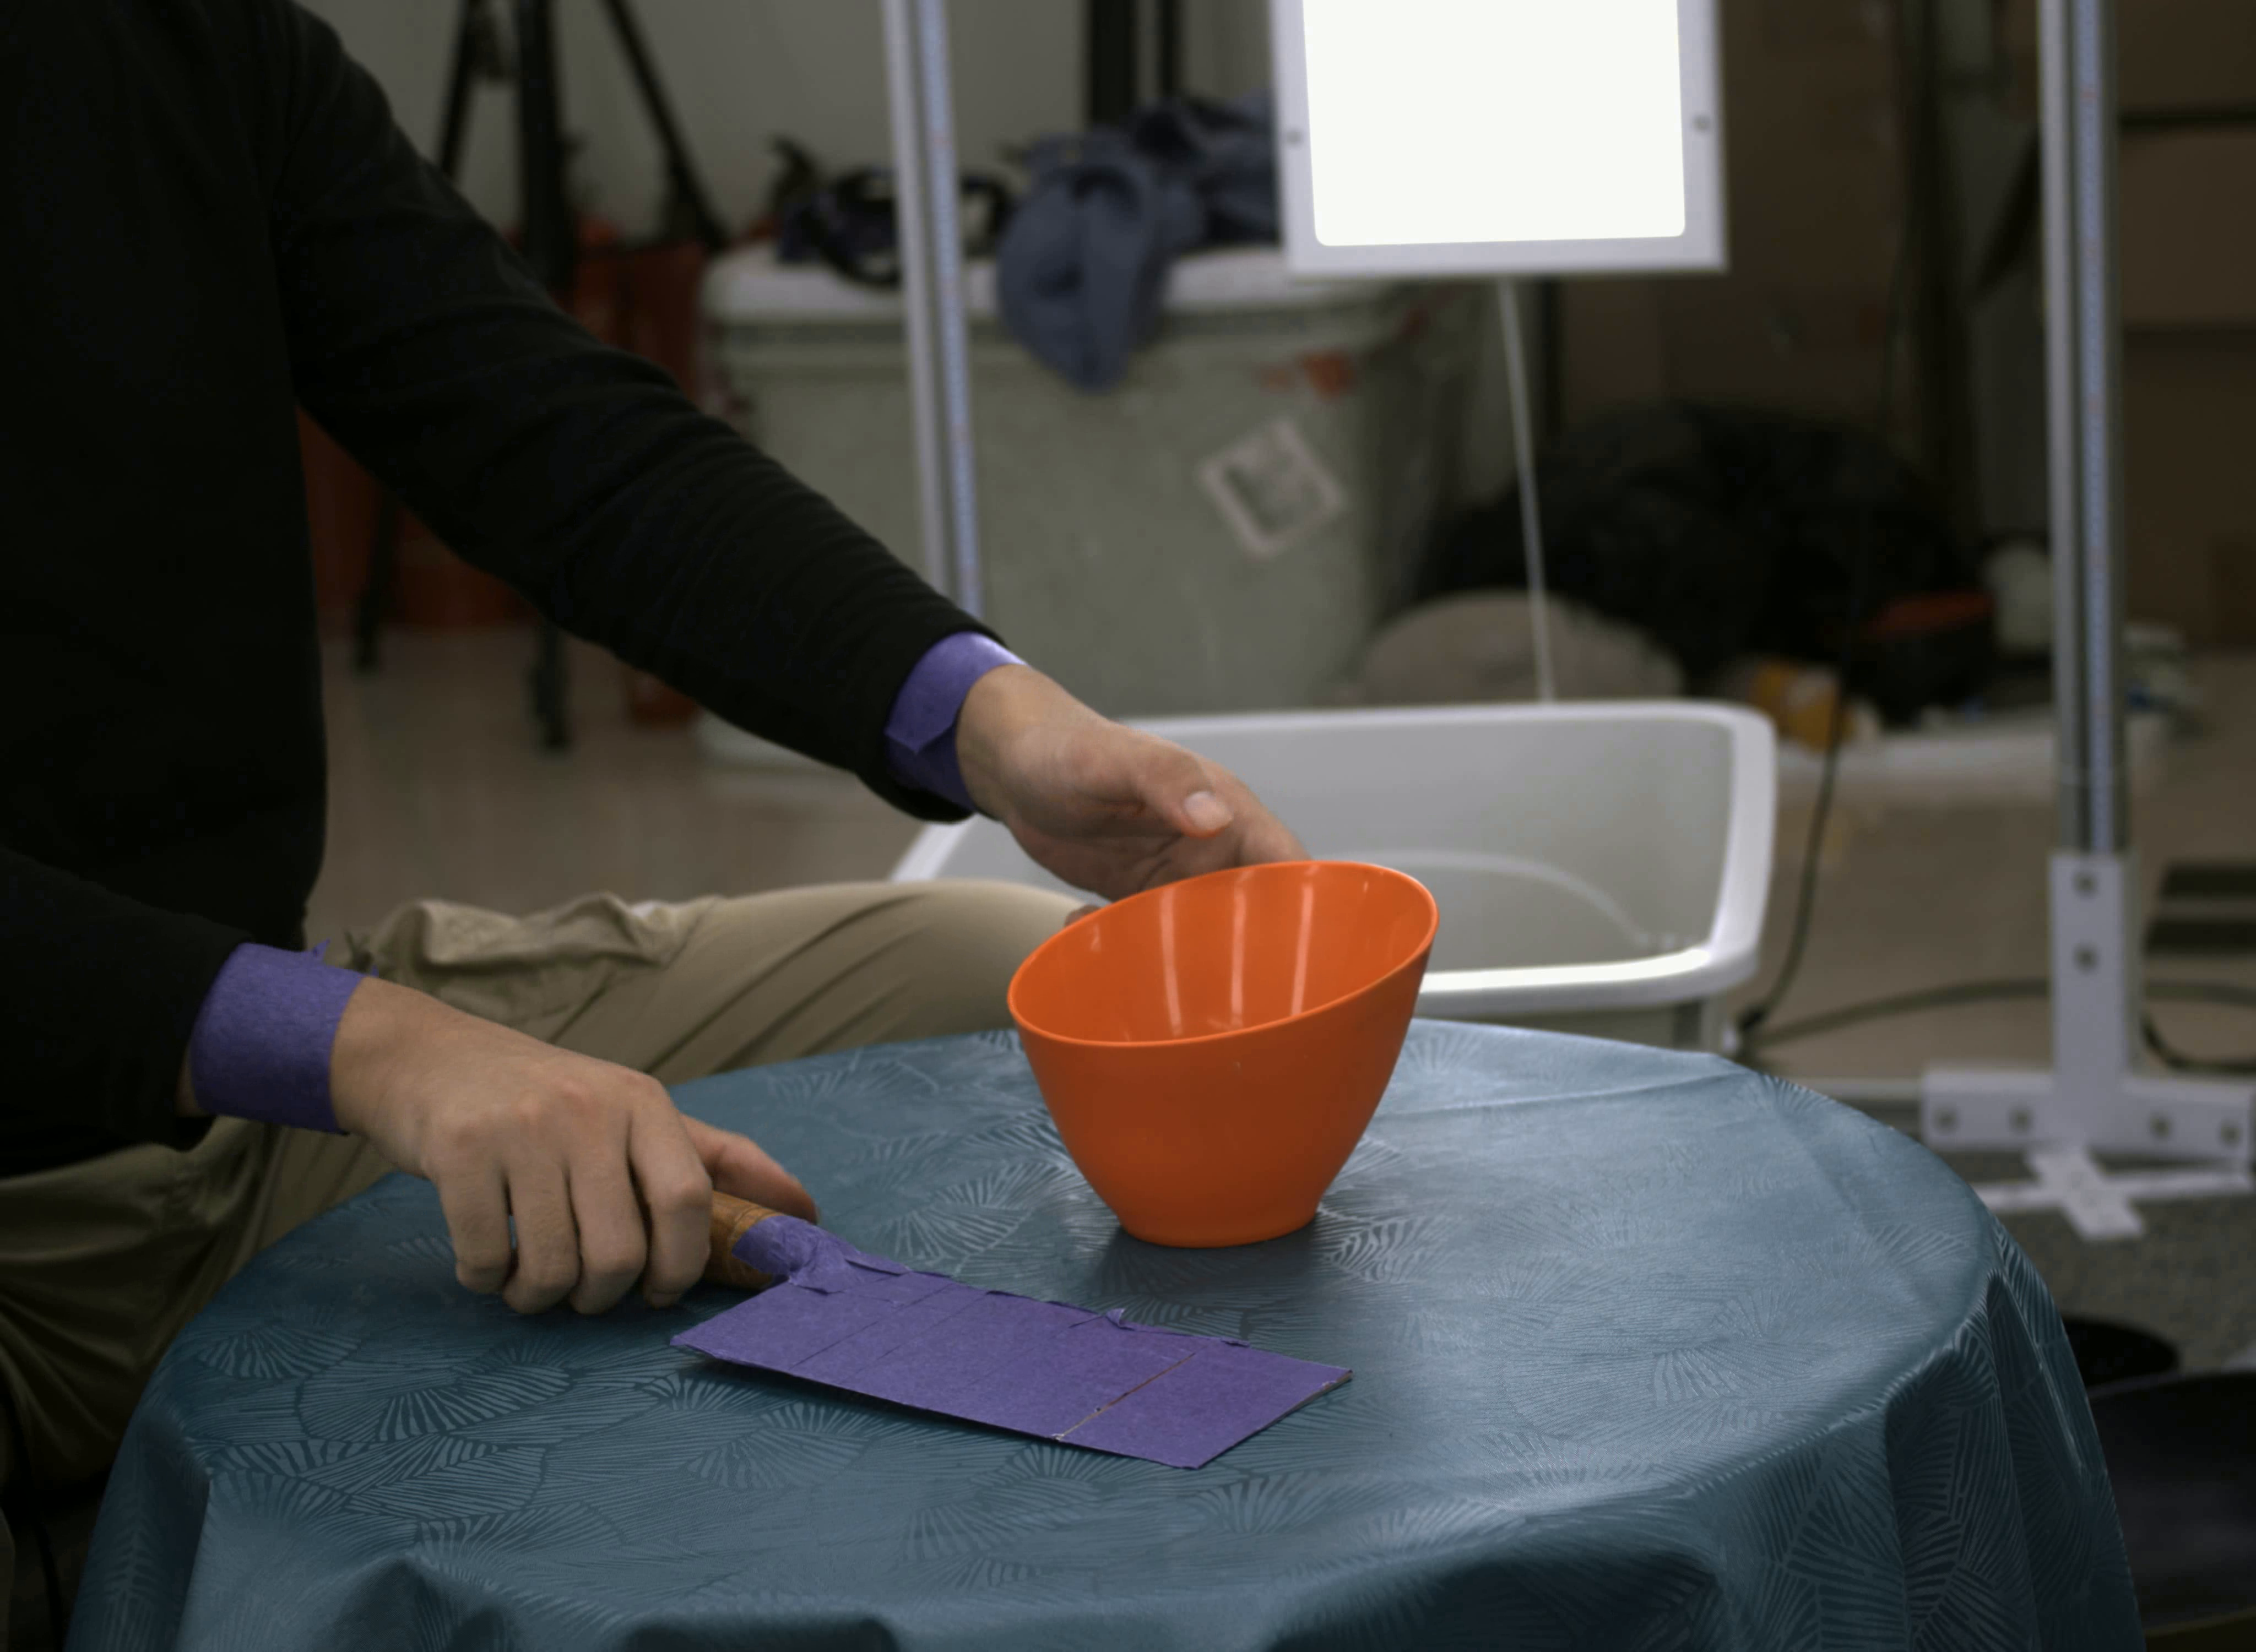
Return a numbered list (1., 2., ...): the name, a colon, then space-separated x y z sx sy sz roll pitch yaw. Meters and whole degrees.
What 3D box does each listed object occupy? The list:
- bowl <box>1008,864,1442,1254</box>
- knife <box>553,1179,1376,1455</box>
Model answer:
1. bowl: 0.036 0.082 1.856 0.147 0.105 0.148 -5 15 0
2. knife: -0.077 0.155 1.756 0.322 0.032 0.101 6 17 37
